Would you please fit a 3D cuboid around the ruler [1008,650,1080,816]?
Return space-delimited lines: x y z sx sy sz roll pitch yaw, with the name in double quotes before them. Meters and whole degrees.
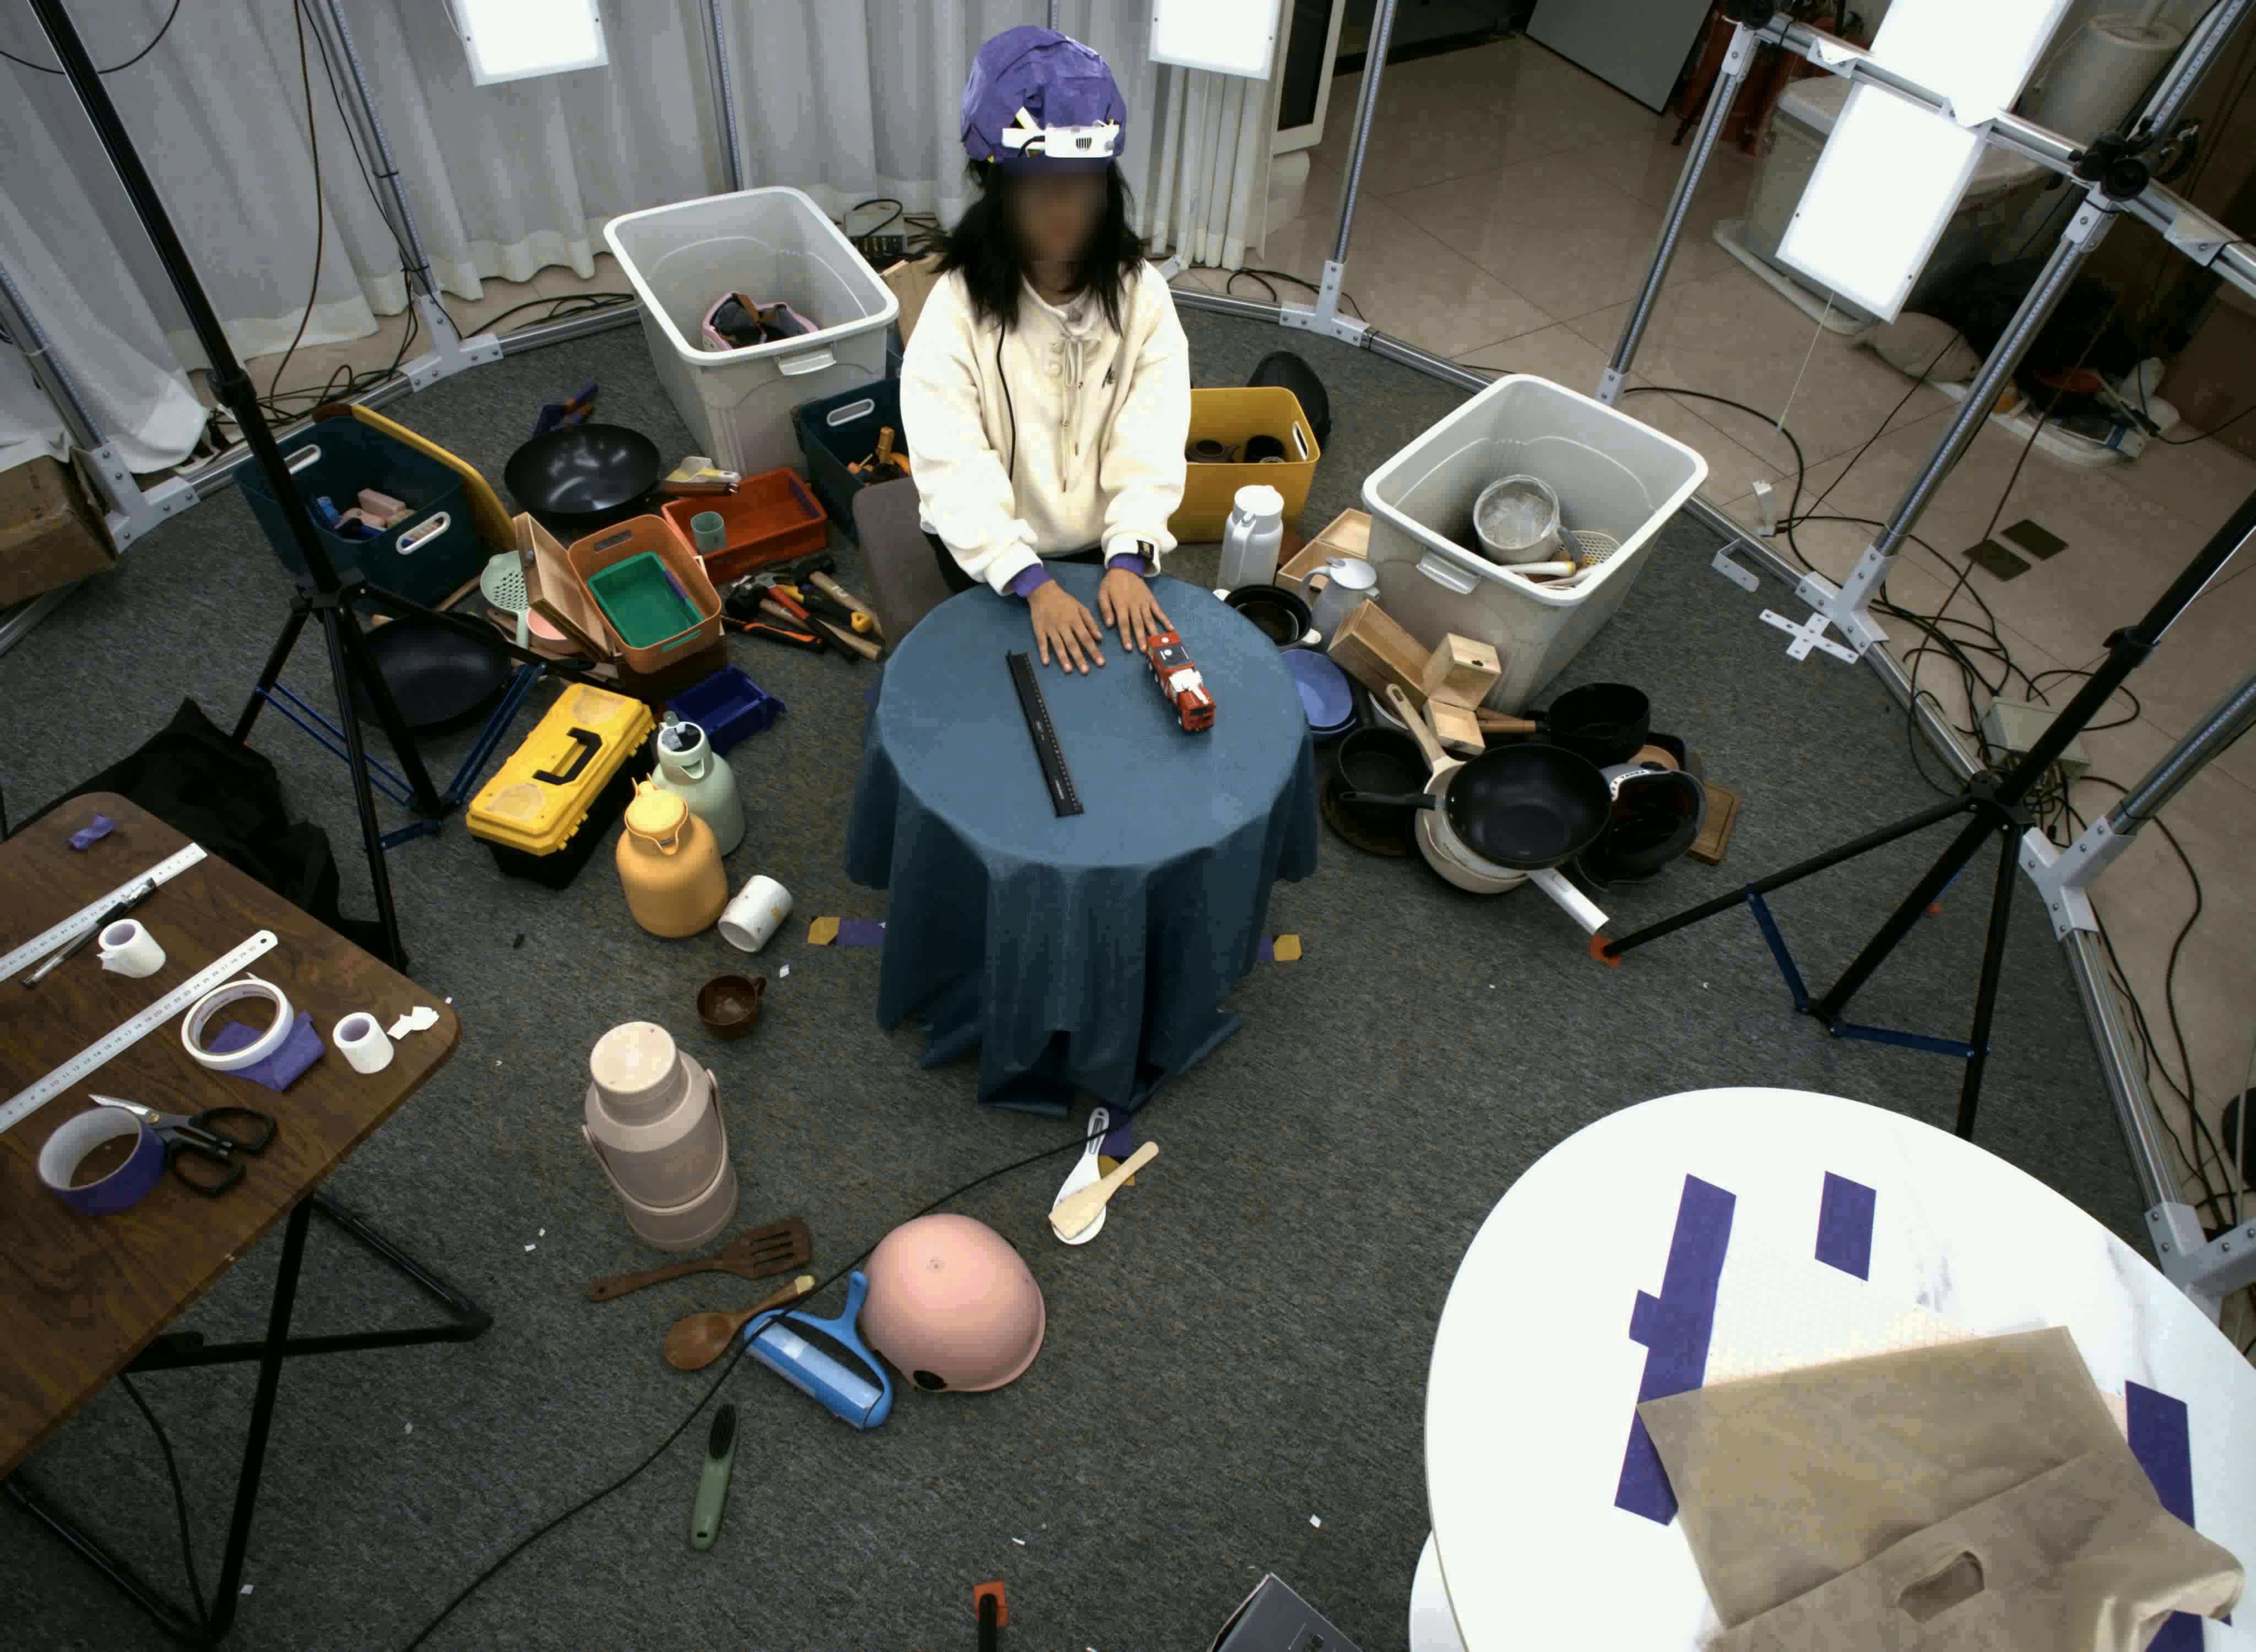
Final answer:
"ruler" -0.117 -0.136 1.770 0.039 0.017 0.320 -6 49 -15

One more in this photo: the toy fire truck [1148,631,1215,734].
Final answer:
"toy fire truck" 0.075 -0.205 1.815 0.054 0.068 0.172 -14 50 -13
